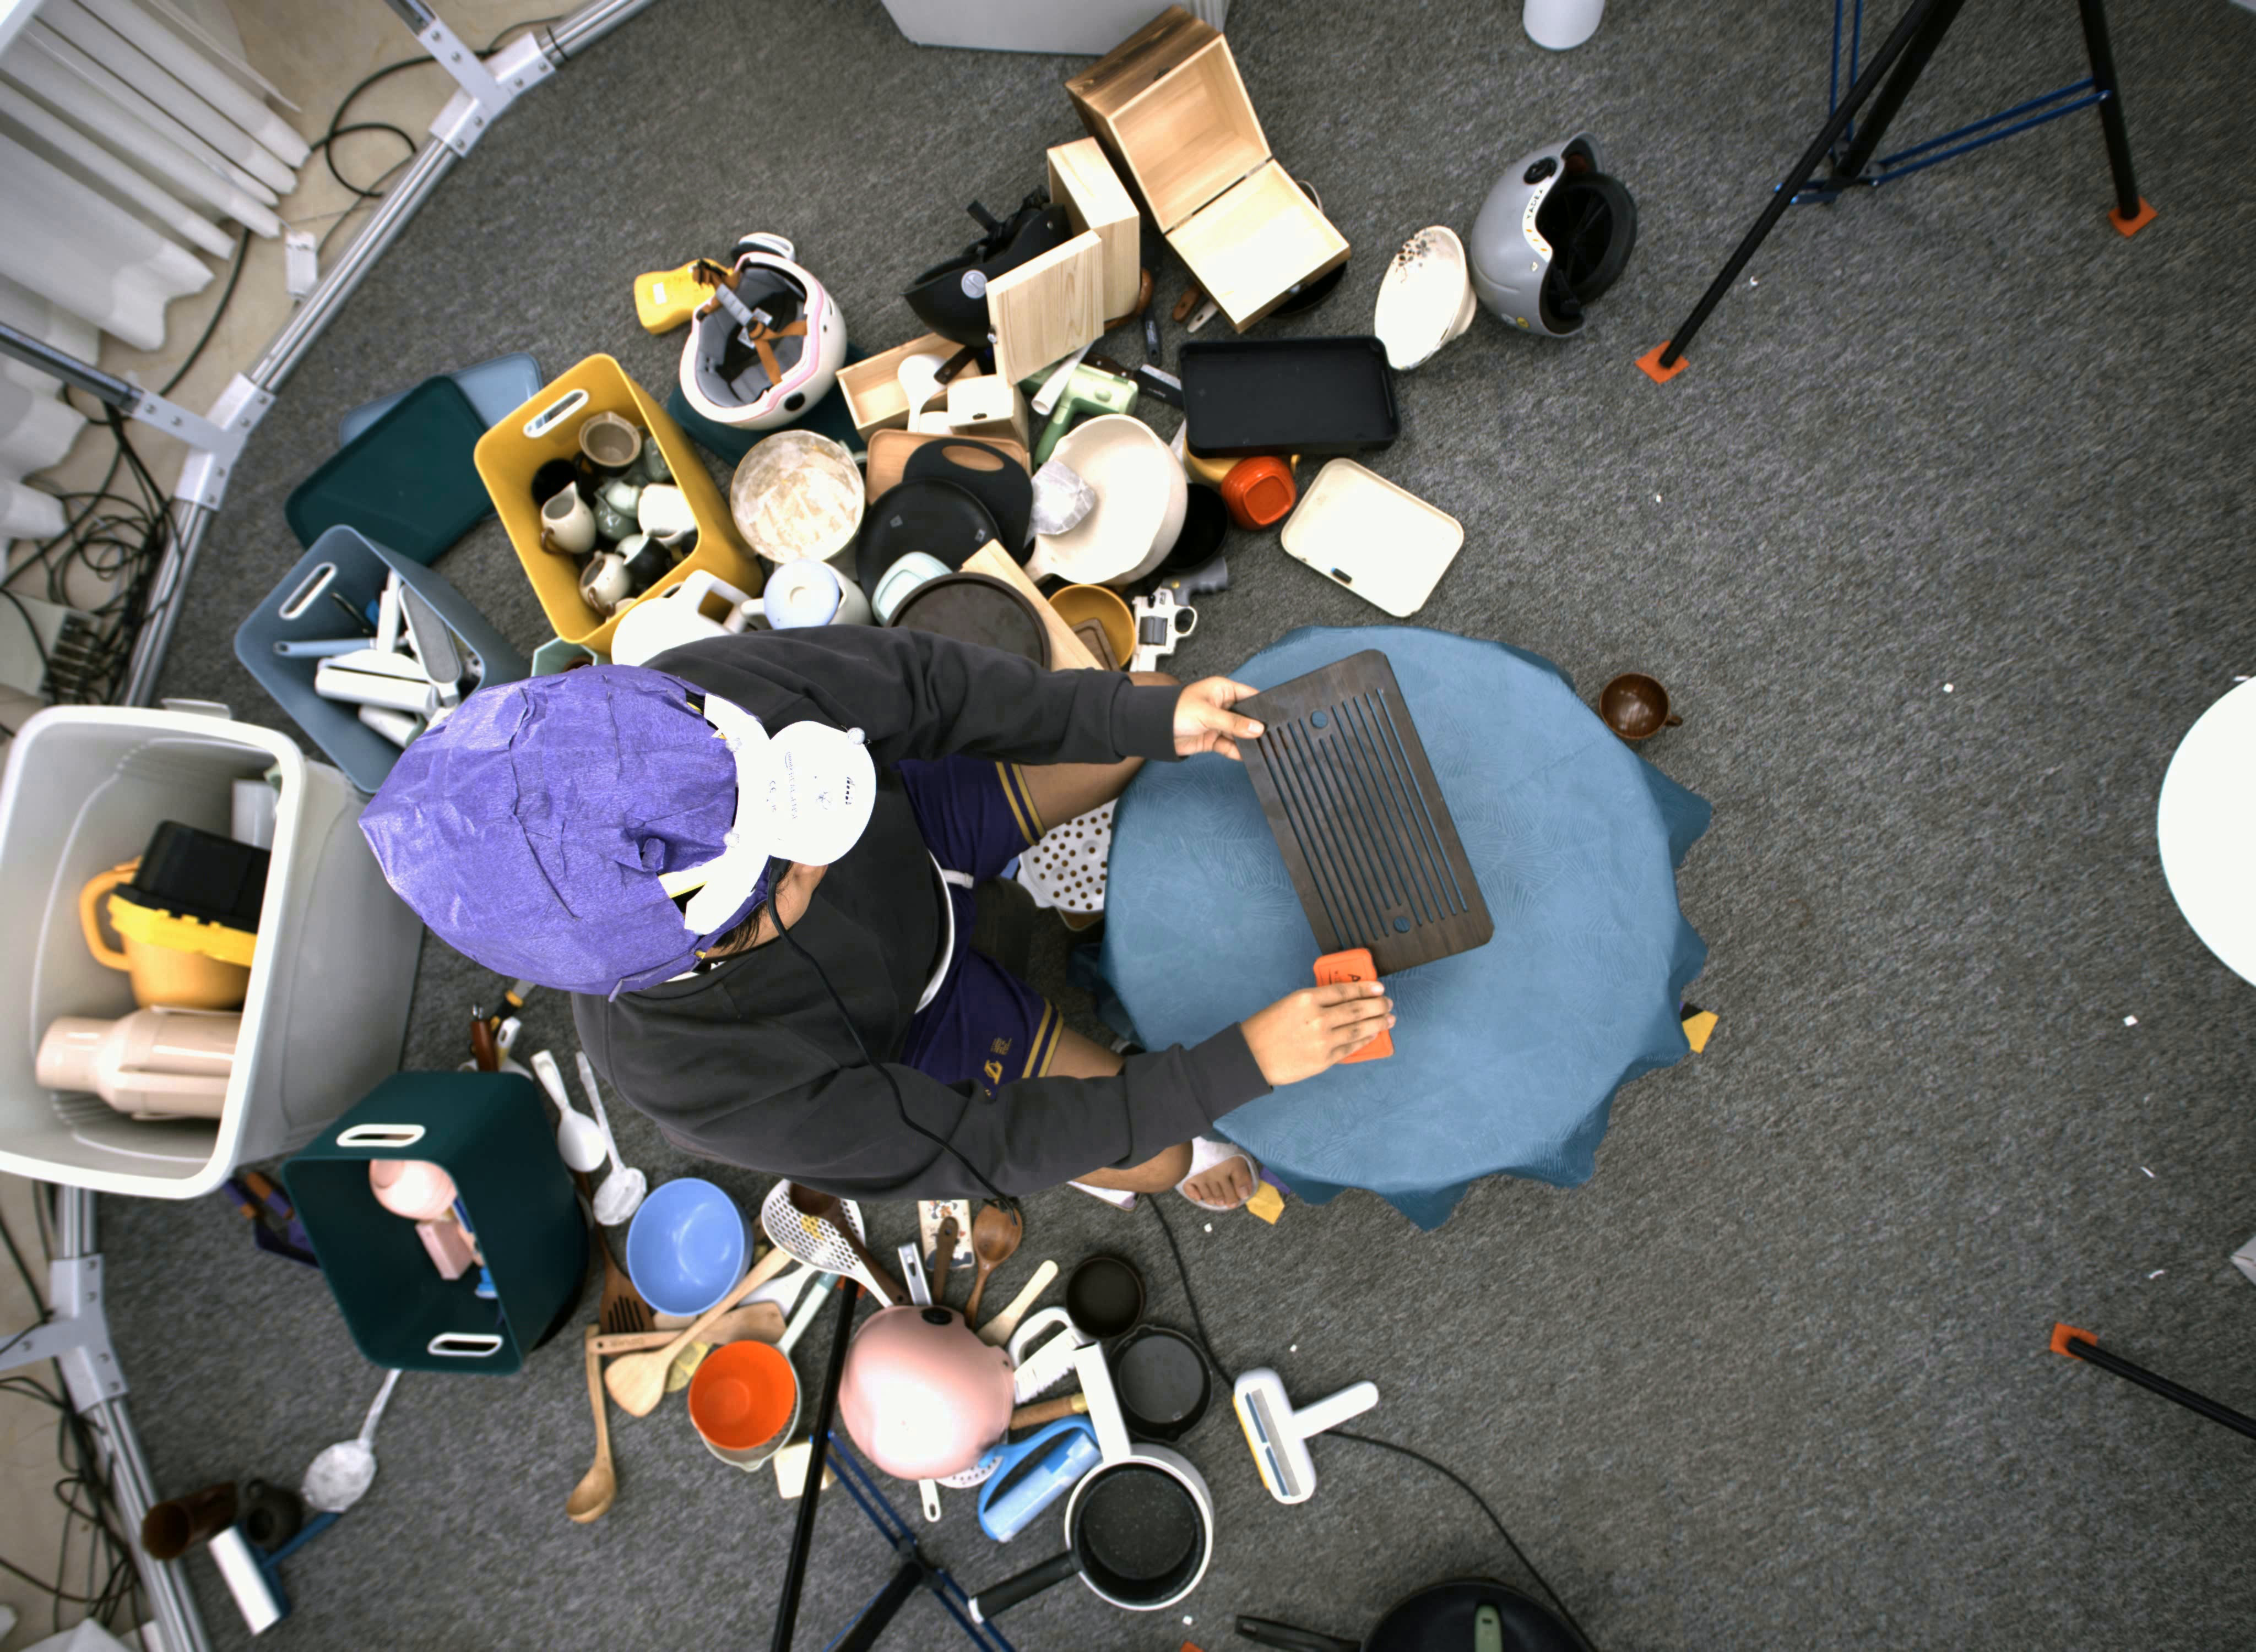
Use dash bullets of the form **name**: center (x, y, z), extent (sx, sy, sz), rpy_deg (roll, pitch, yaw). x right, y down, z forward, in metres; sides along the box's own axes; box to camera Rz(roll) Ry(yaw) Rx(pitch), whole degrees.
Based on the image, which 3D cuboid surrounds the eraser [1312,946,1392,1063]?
- **eraser**: center (0.221, 0.175, 1.362), extent (0.059, 0.022, 0.108), rpy_deg (-13, 98, 18)

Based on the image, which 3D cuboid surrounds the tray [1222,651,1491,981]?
- **tray**: center (0.222, -0.003, 1.340), extent (0.172, 0.018, 0.307), rpy_deg (-20, 97, 25)
